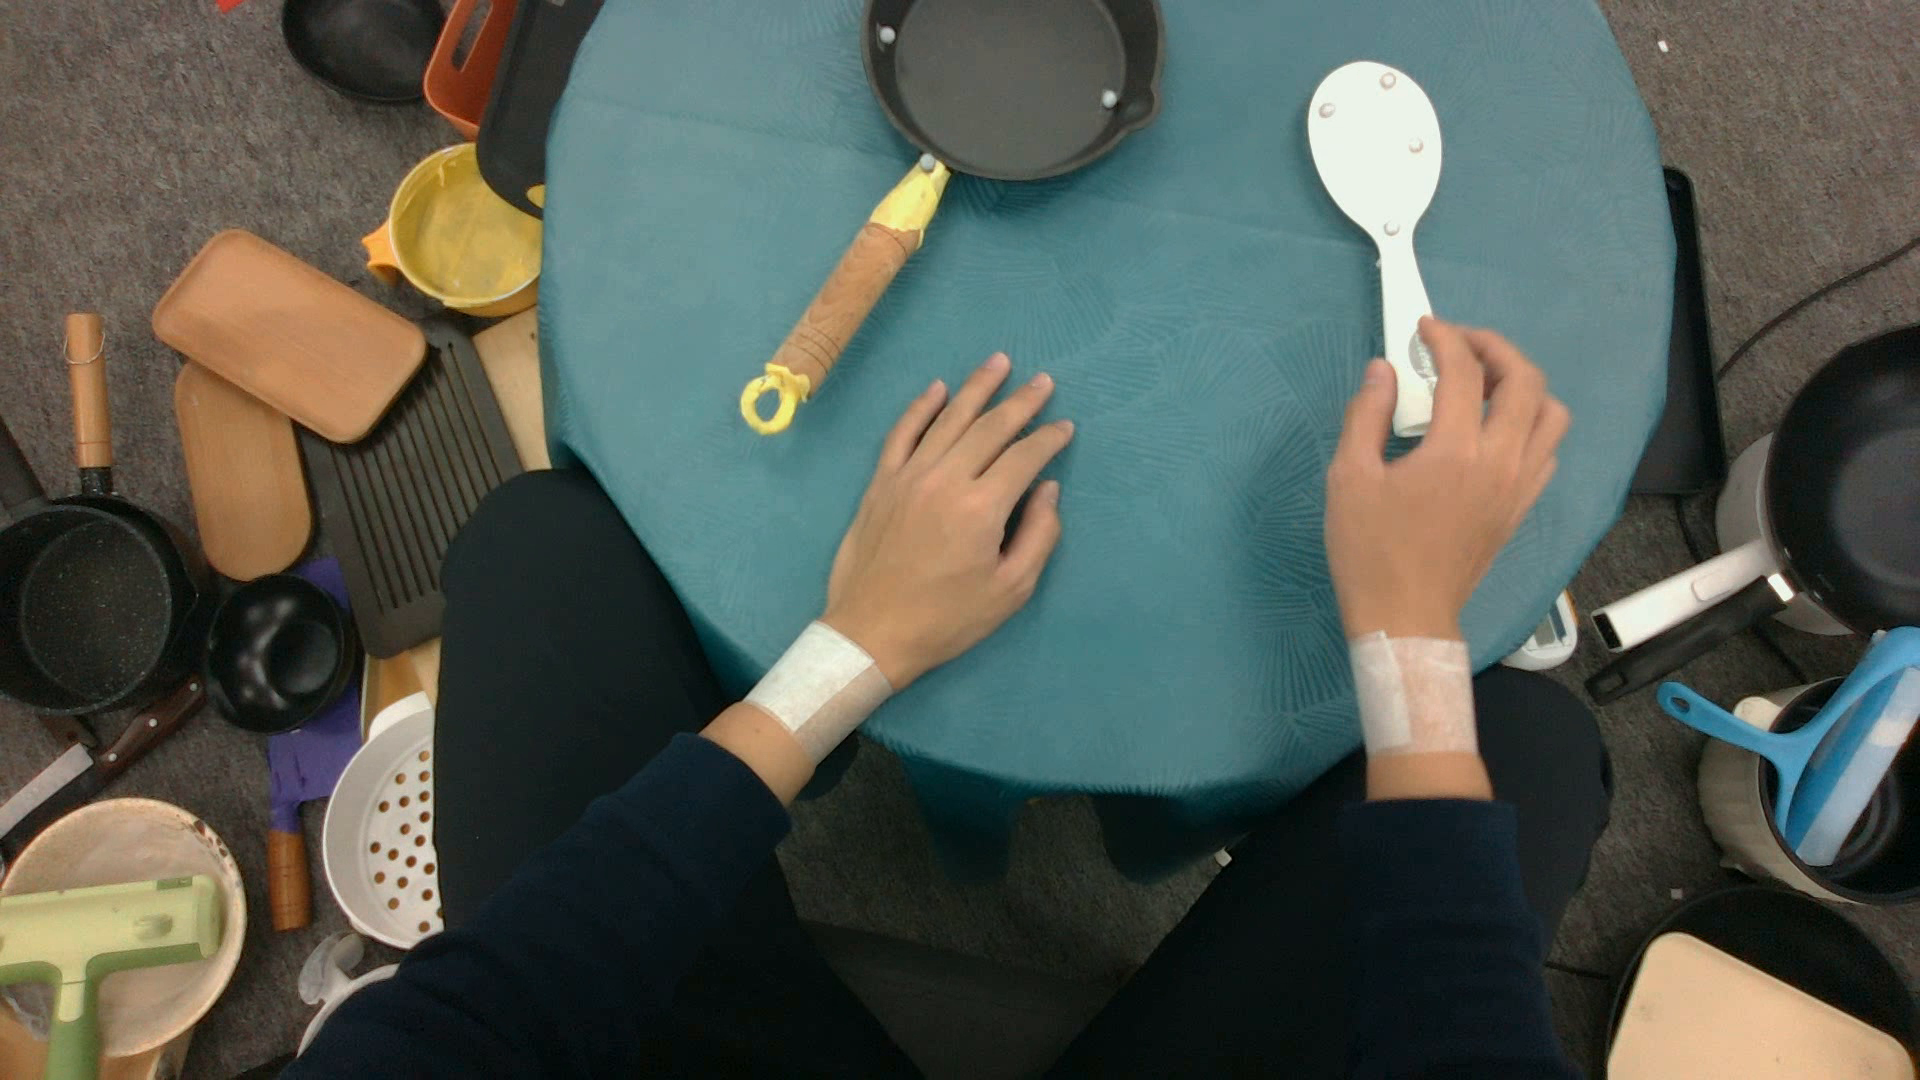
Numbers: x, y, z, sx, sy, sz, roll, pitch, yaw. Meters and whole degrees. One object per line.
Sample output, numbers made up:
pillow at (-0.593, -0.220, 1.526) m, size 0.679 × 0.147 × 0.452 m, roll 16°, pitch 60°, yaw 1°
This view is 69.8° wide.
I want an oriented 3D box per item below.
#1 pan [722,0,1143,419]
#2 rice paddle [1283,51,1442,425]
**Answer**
pan at (-0.027, -0.195, 0.703) m, size 0.169 × 0.049 × 0.325 m, roll 32°, pitch 78°, yaw 3°
rice paddle at (0.214, -0.163, 0.718) m, size 0.069 × 0.029 × 0.205 m, roll -8°, pitch 80°, yaw -6°
